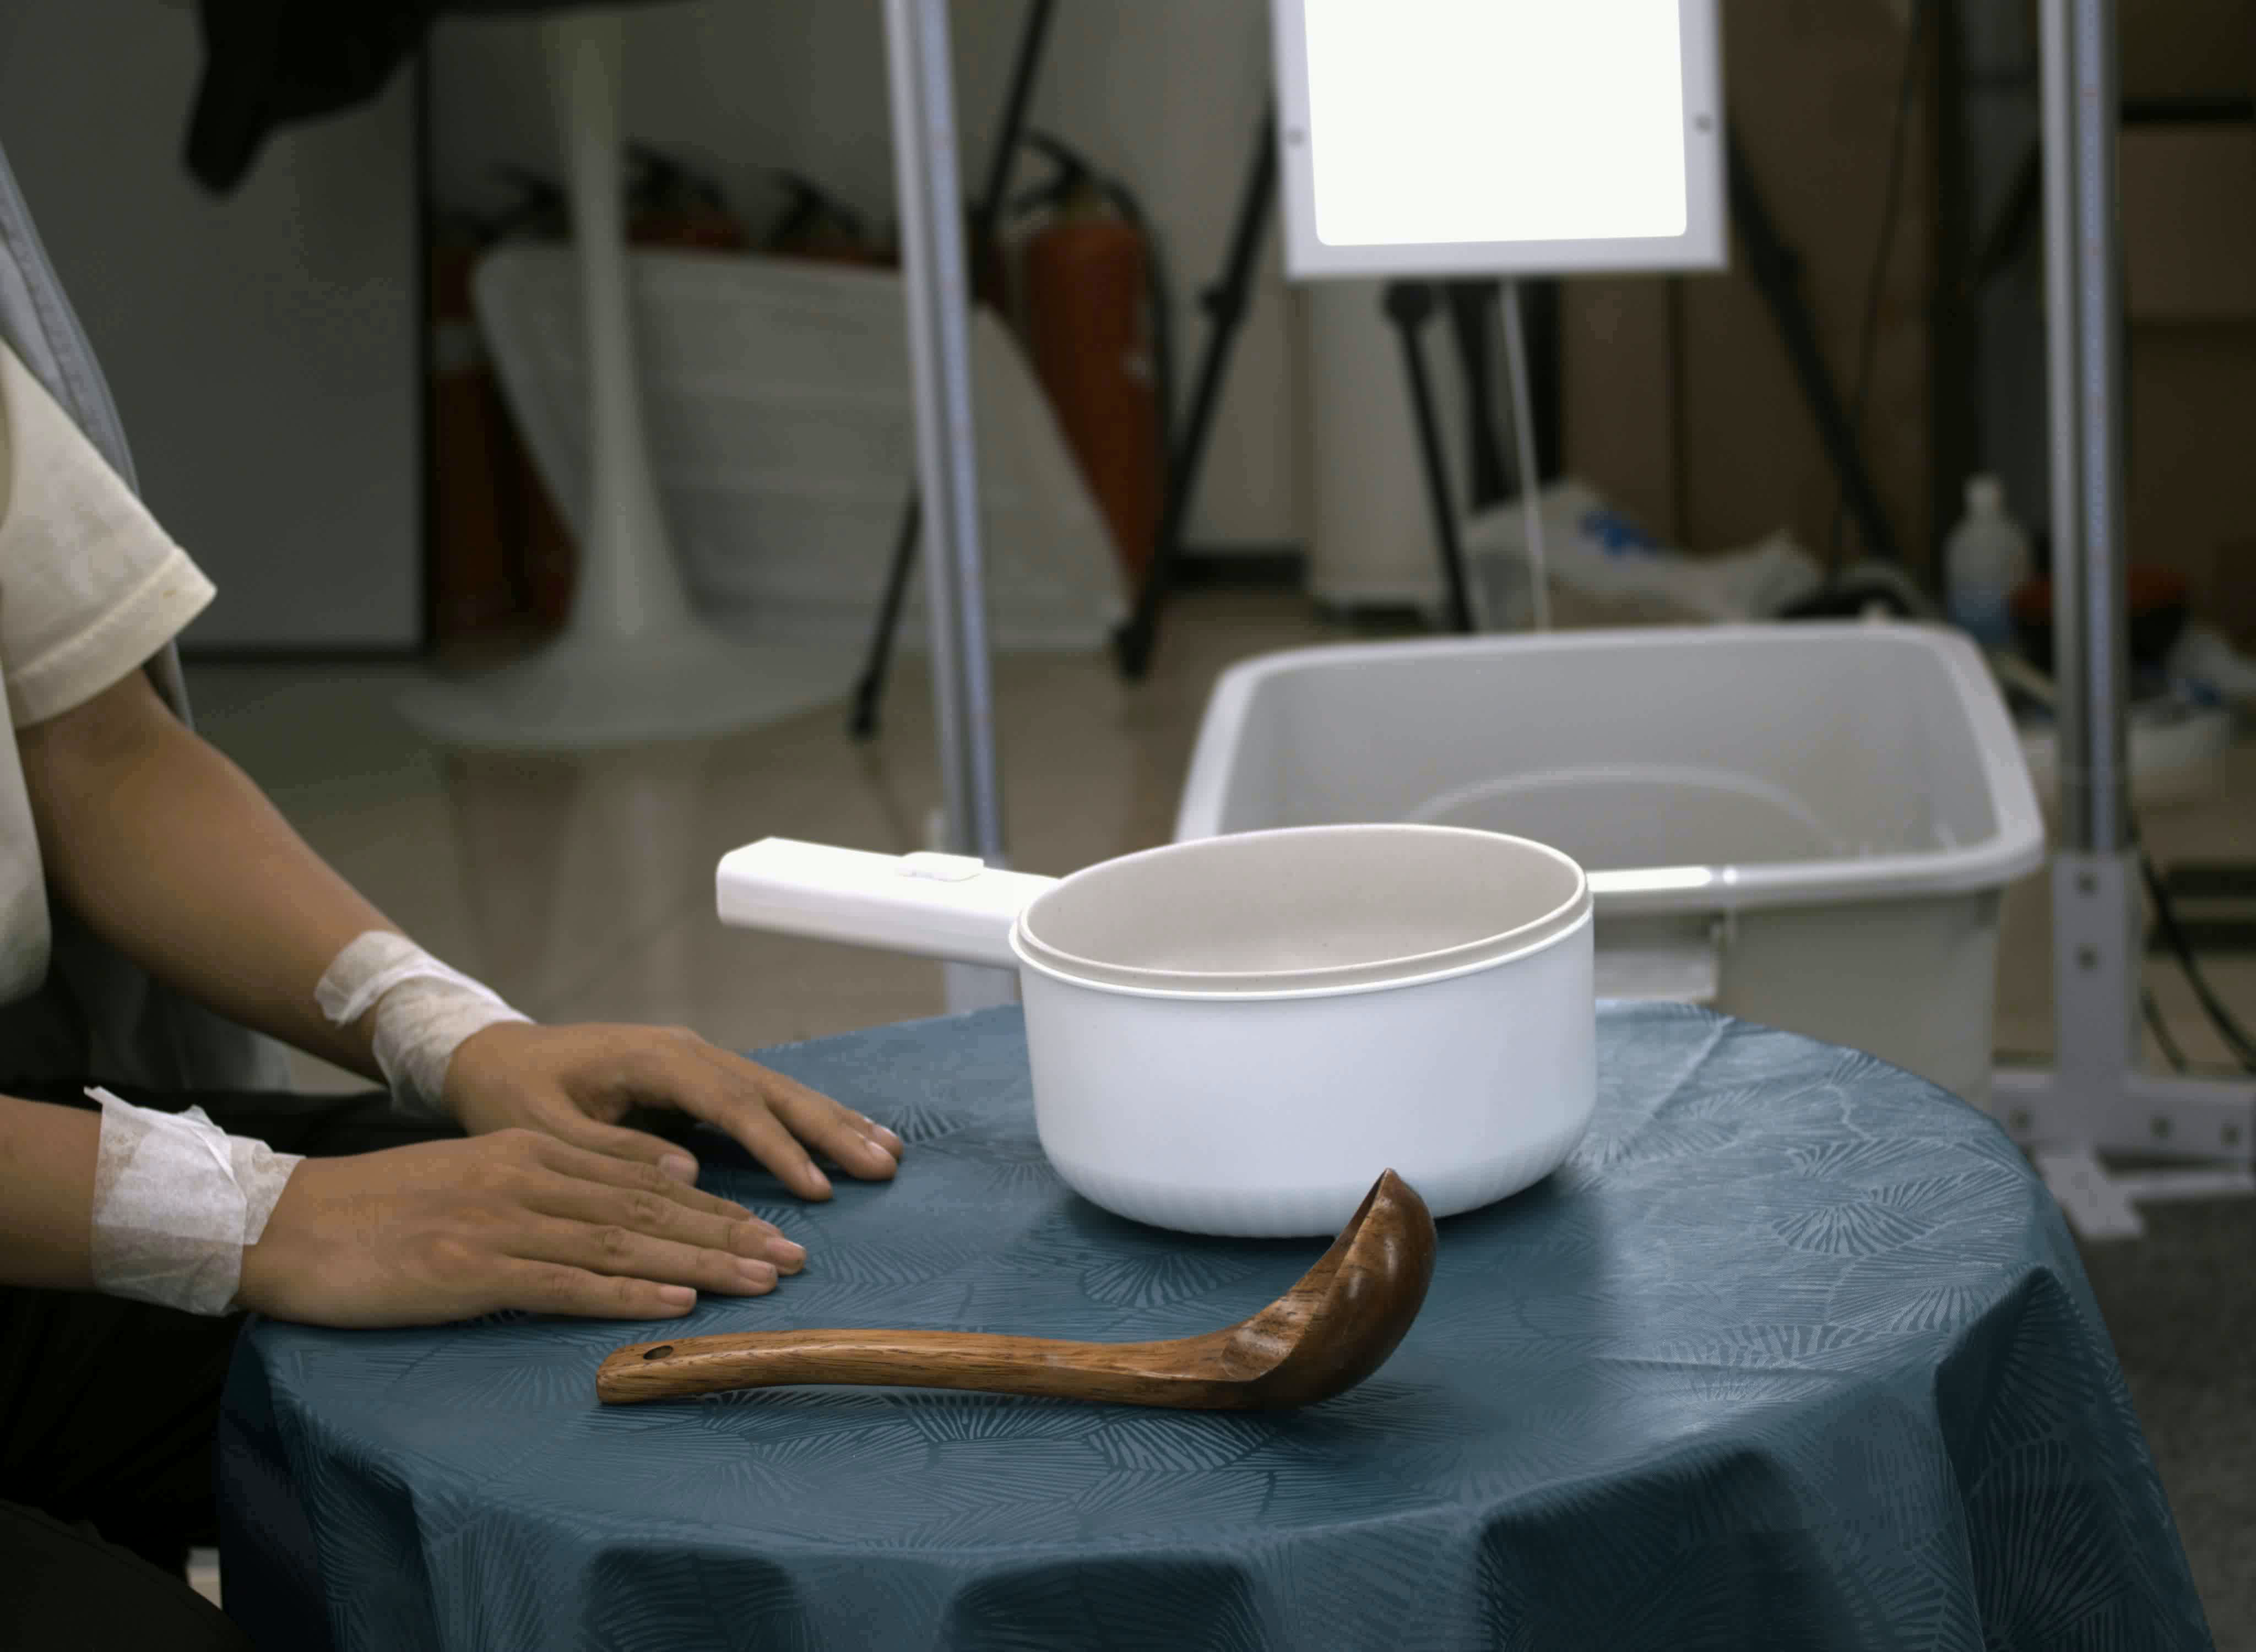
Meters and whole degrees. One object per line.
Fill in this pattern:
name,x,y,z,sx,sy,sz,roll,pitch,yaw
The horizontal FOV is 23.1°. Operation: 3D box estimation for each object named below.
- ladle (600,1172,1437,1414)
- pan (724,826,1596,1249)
ladle,-0.038,0.140,1.688,0.277,0.077,0.080,1,17,20
pan,0.002,0.068,1.932,0.362,0.102,0.196,5,18,39
